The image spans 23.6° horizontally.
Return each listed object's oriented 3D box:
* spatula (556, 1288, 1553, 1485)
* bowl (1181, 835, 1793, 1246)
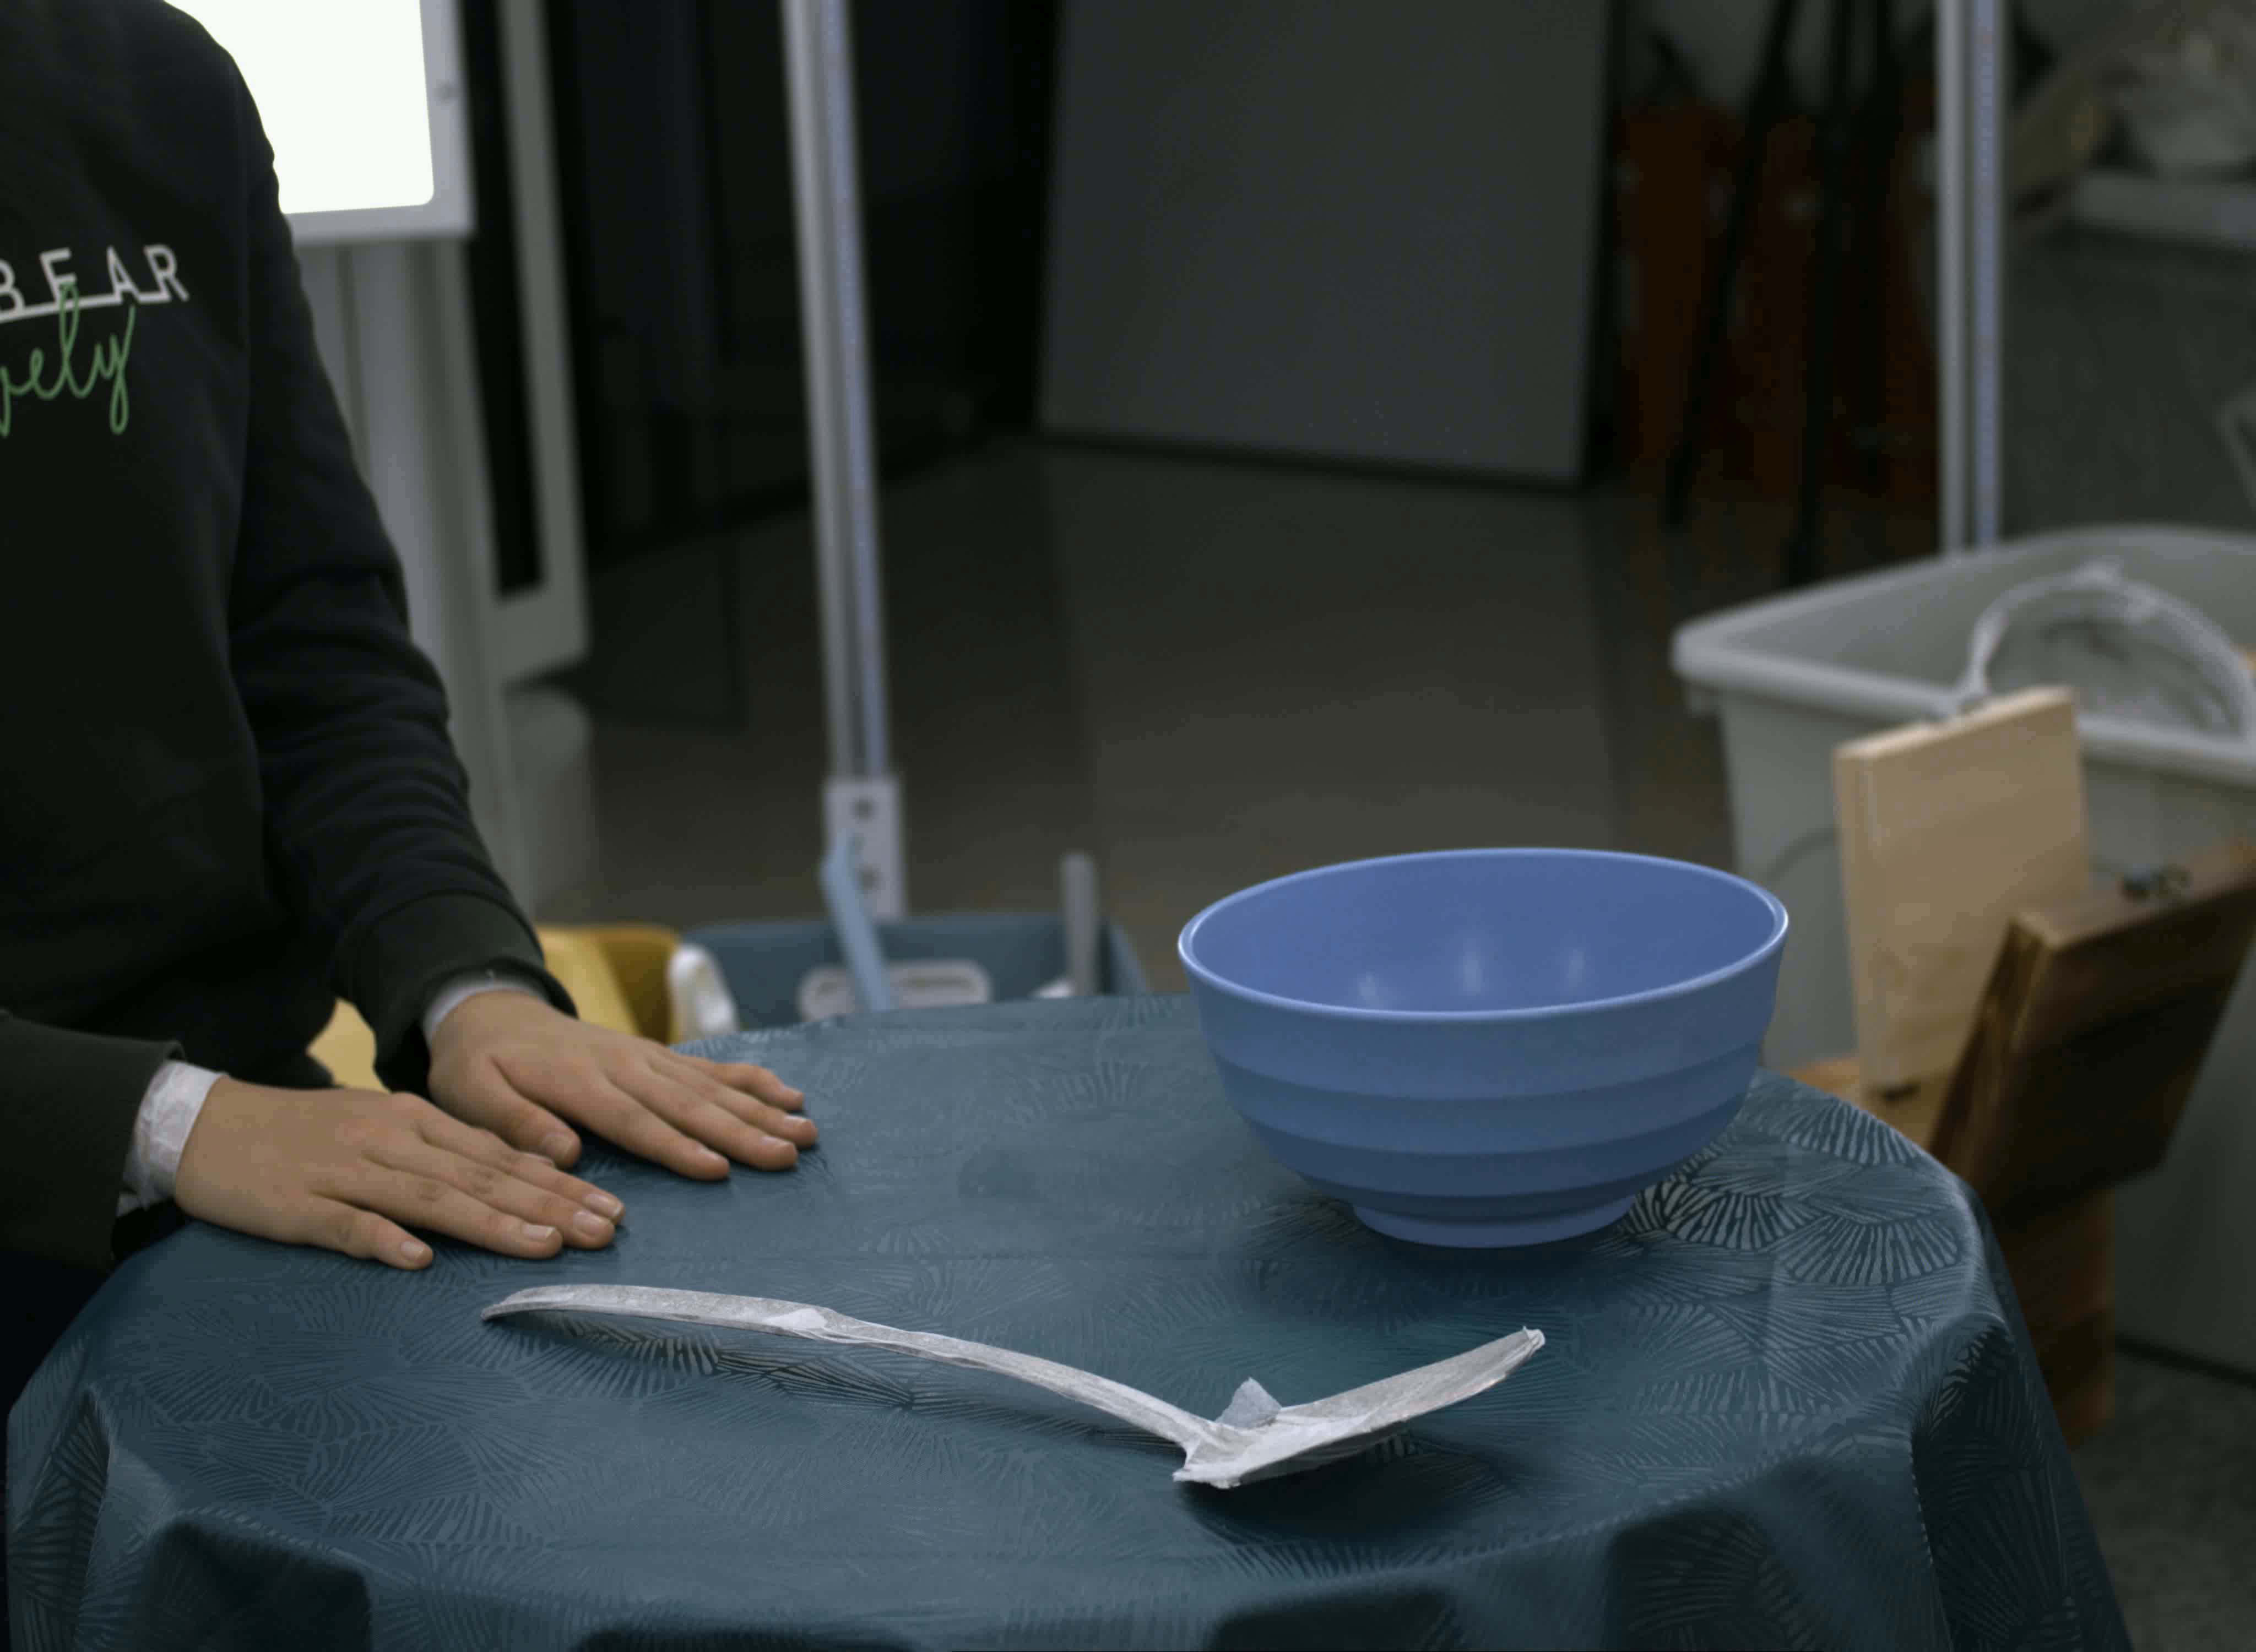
[{"bbox_3d":[-0.041,0.152,1.580,0.367,0.045,0.097,7,19,37],"label":"spatula"},{"bbox_3d":[0.115,0.074,1.722,0.194,0.096,0.197,-2,15,0],"label":"bowl"}]
